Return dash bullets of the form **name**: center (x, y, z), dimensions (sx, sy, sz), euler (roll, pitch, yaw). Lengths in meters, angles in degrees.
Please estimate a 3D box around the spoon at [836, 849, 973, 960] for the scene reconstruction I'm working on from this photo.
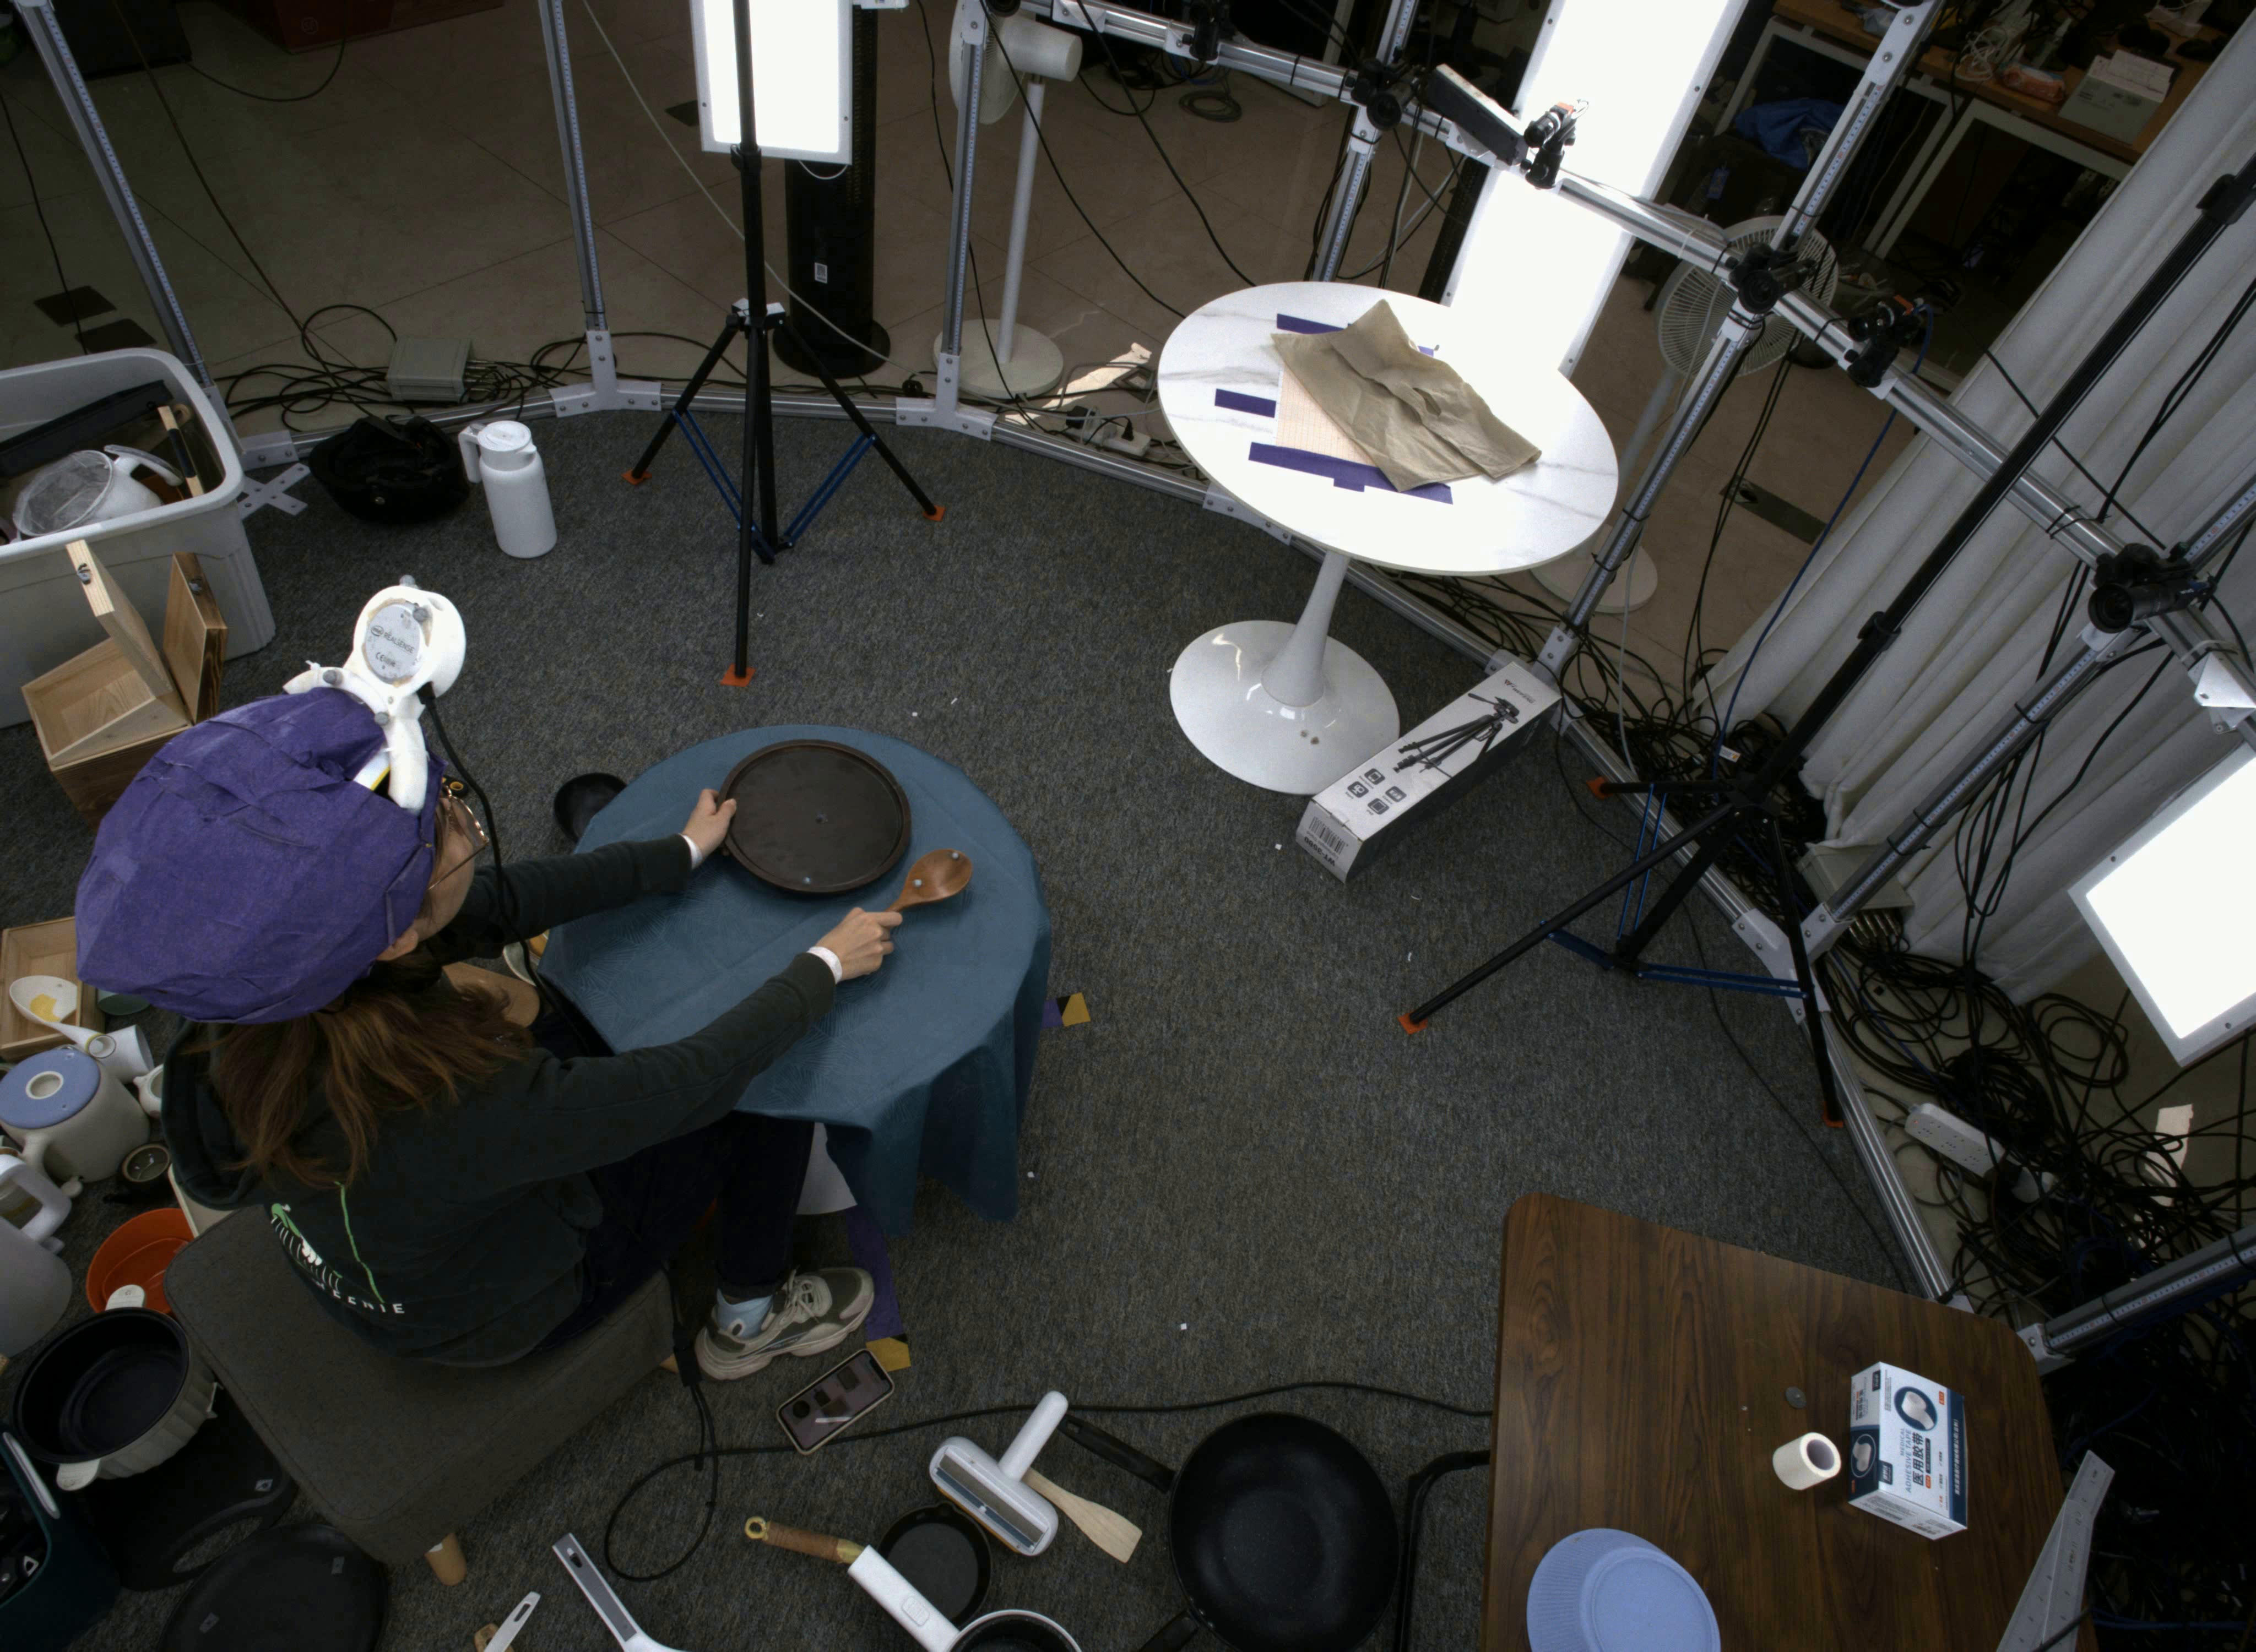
- **spoon**: center (-0.286, 0.100, 1.658), dimensions (0.073, 0.018, 0.216), euler (39, 57, 19)

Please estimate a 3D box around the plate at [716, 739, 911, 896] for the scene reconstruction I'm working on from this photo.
- **plate**: center (-0.413, -0.013, 1.712), dimensions (0.256, 0.029, 0.250), euler (12, 50, -13)
